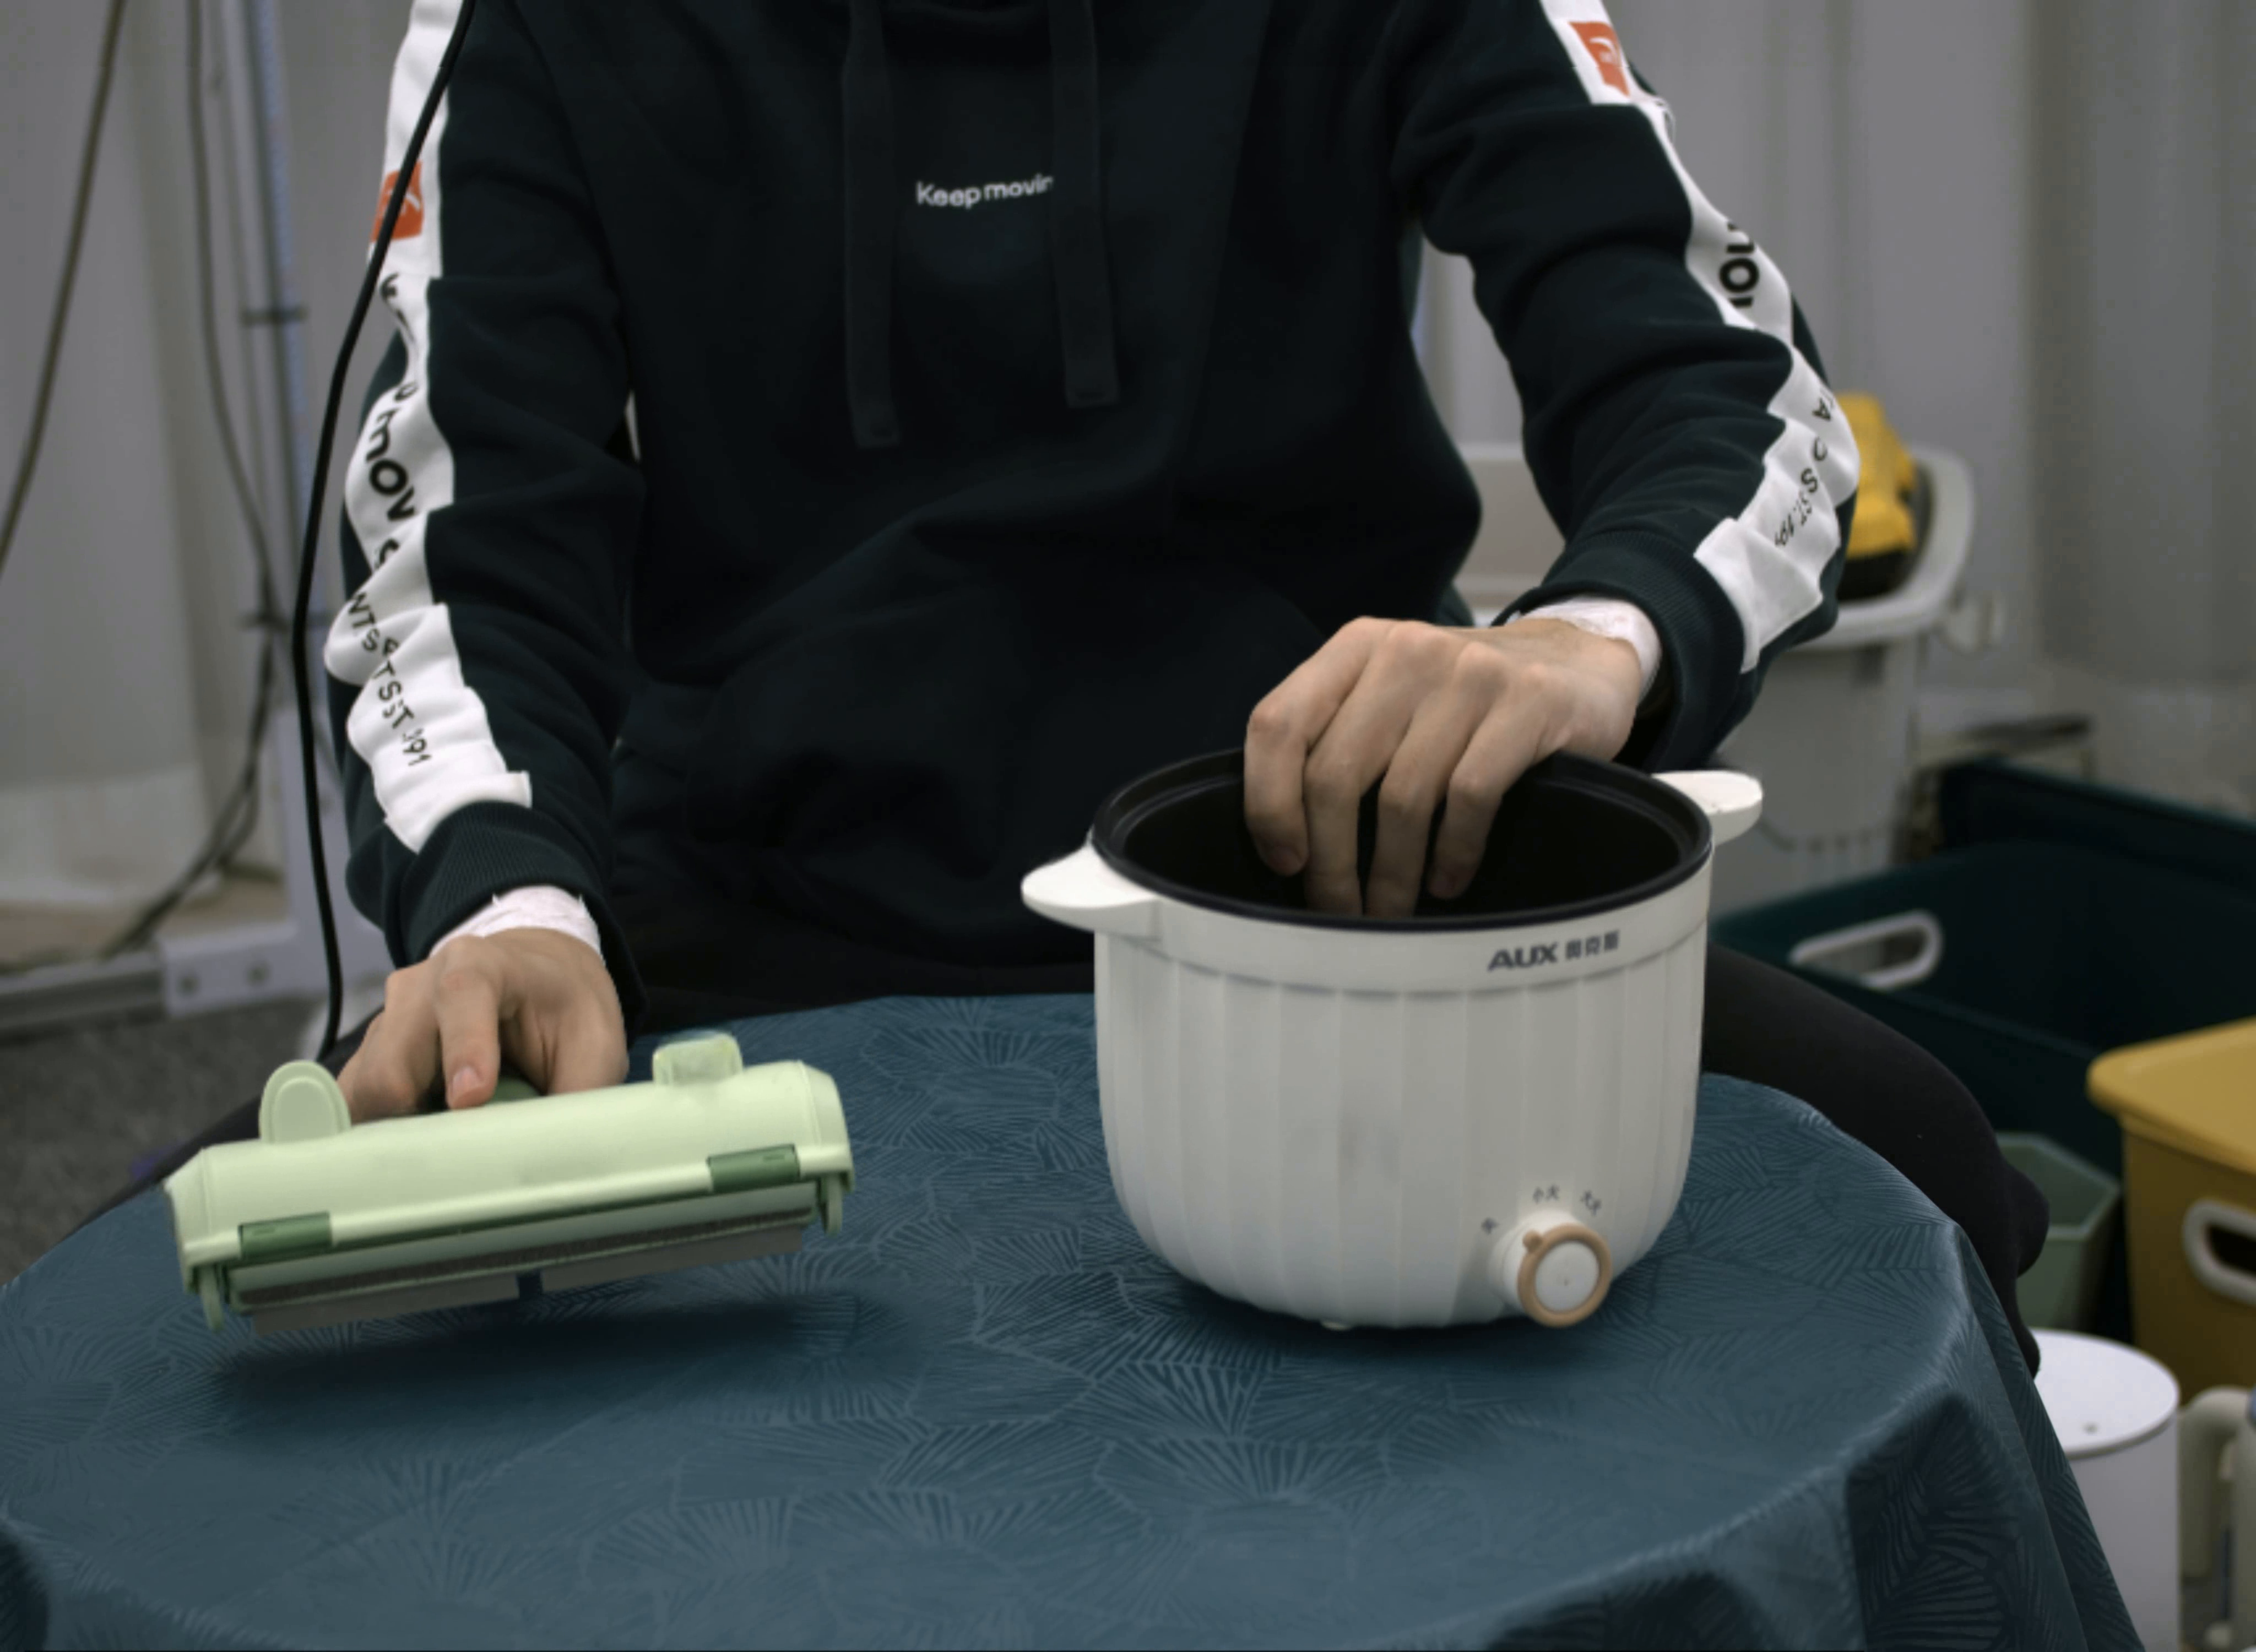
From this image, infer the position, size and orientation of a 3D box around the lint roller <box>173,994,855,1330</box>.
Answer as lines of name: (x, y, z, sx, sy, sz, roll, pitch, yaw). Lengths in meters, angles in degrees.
lint roller: (-0.191, 0.083, 1.652, 0.198, 0.082, 0.185, -8, 19, -9)

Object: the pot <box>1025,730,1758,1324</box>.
pot: (0.083, 0.062, 1.606, 0.239, 0.142, 0.192, -9, 16, -25)
